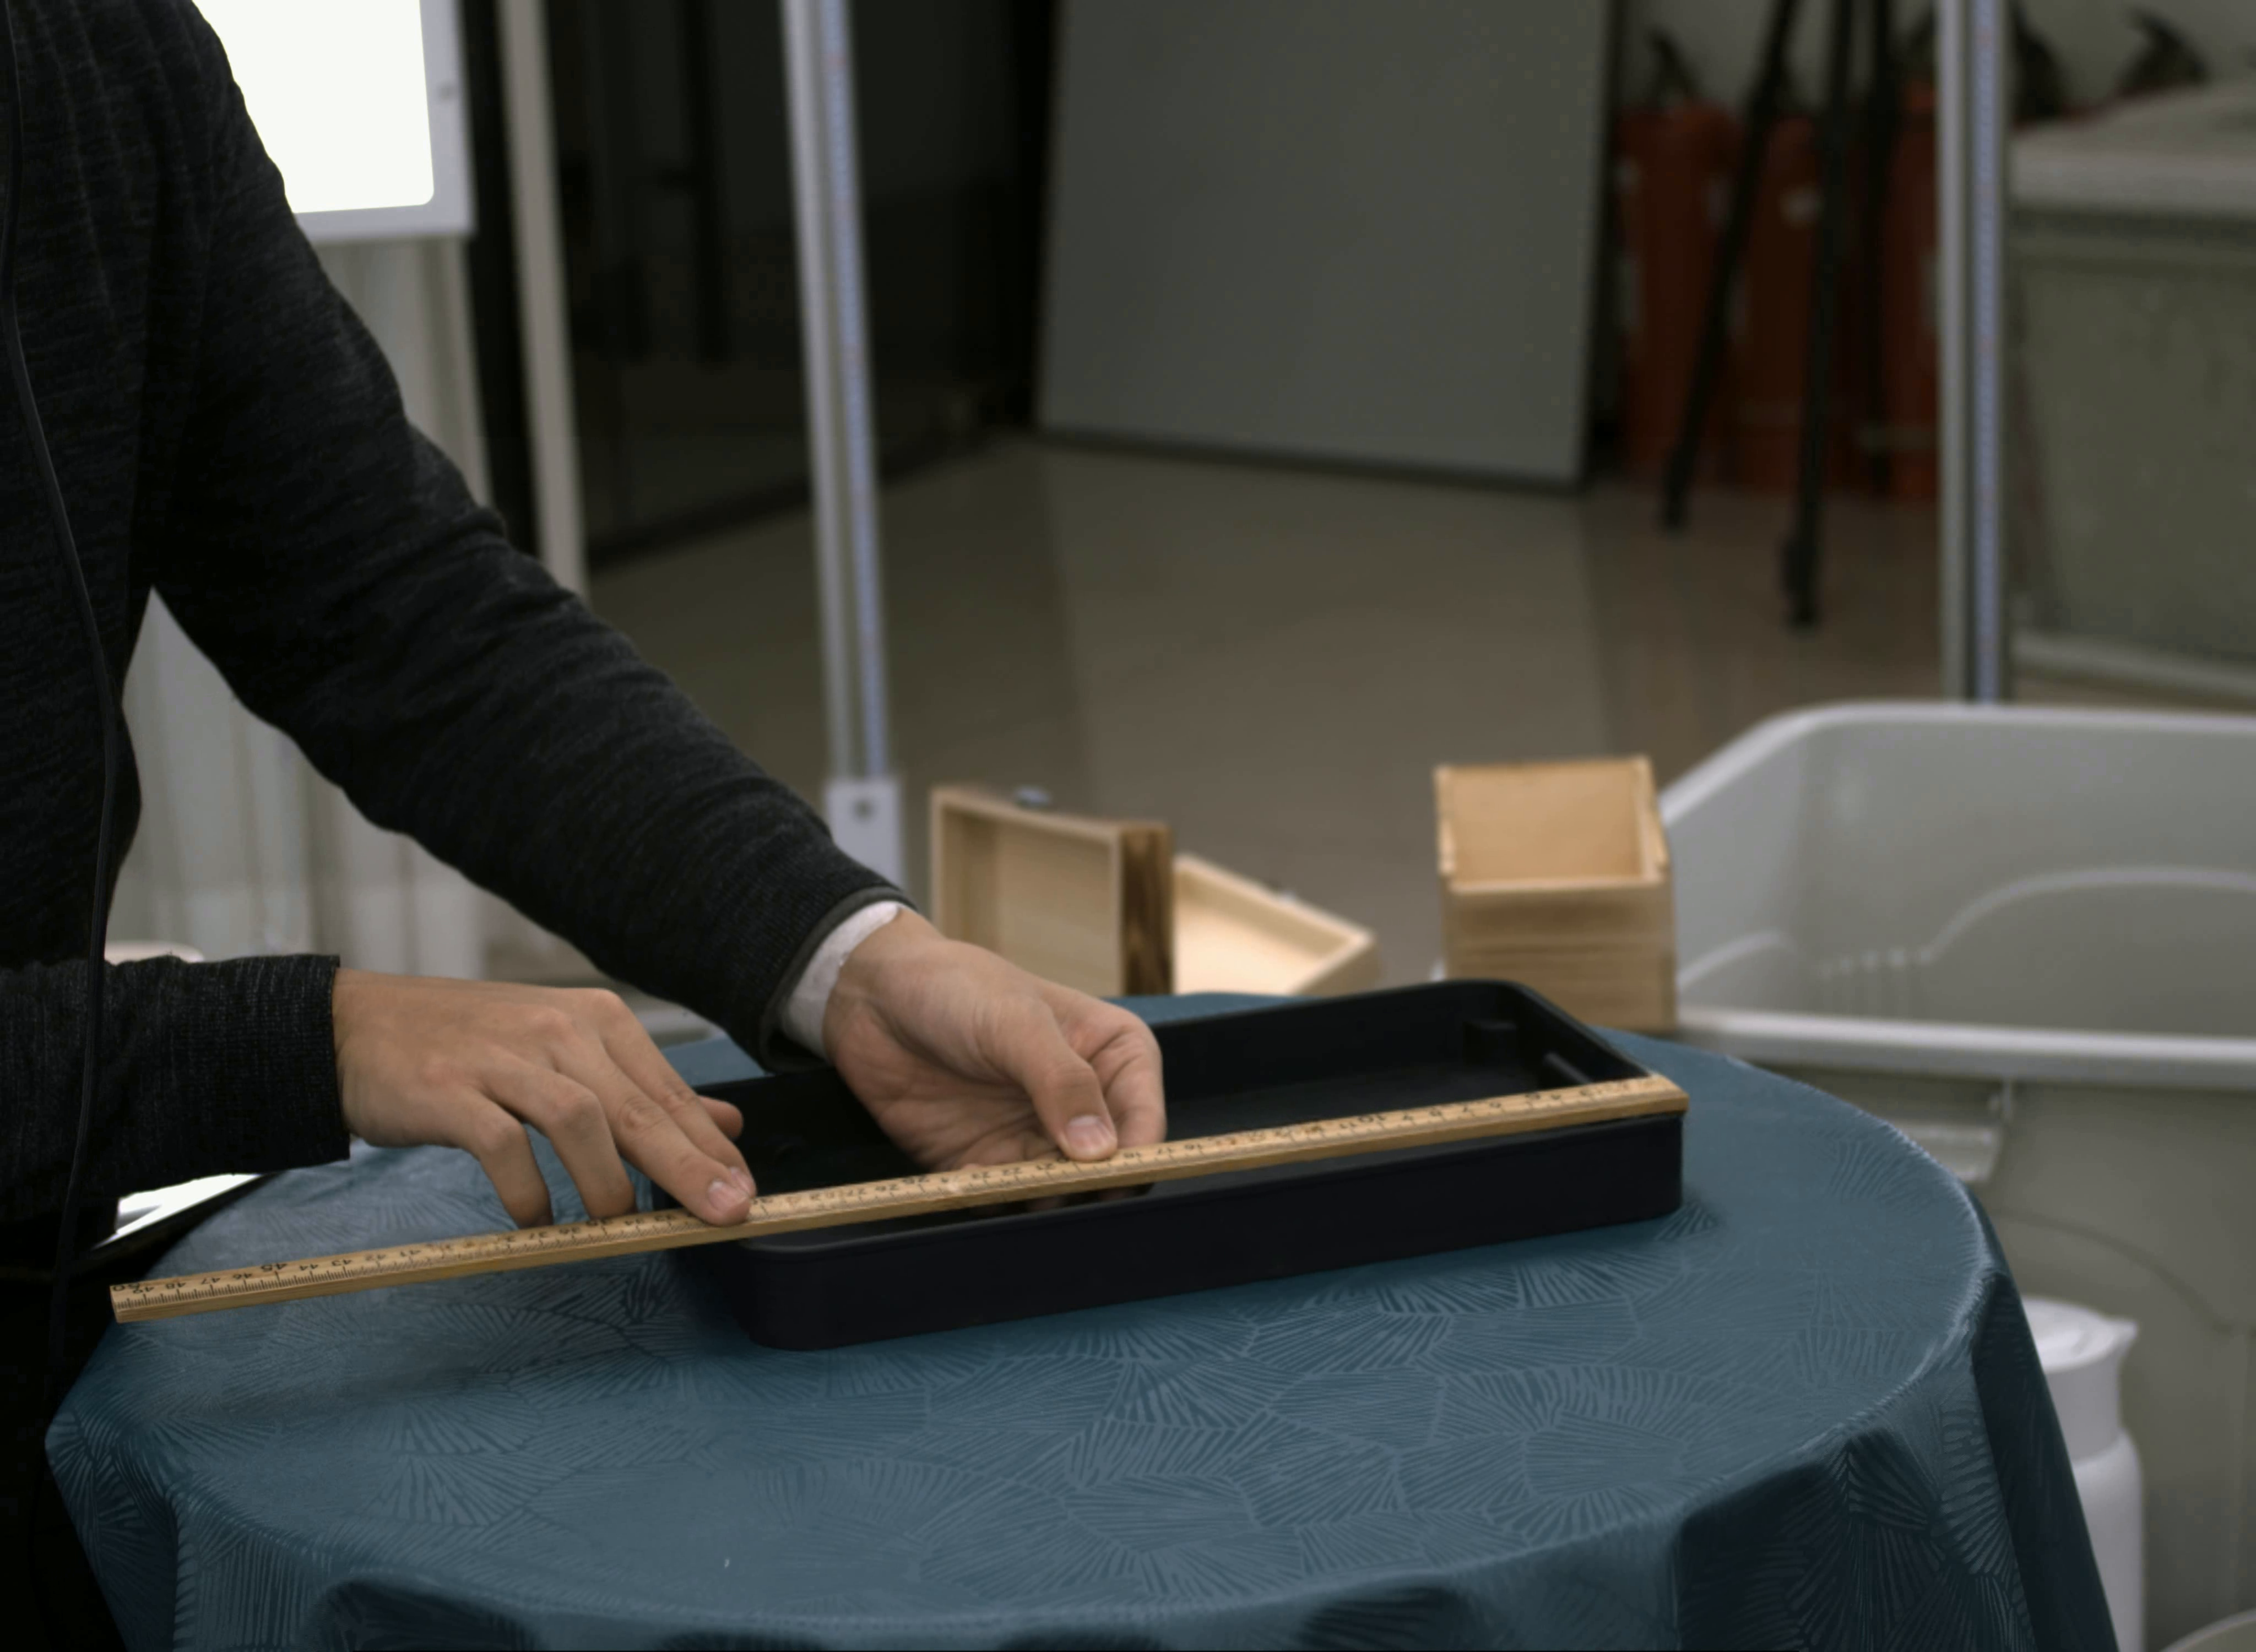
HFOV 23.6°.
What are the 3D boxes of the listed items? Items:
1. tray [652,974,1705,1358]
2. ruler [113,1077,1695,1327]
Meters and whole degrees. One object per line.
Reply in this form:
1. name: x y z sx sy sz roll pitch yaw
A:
1. tray: 0.015 0.106 1.752 0.312 0.037 0.186 -9 14 -16
2. ruler: -0.063 0.114 1.664 0.491 0.006 0.027 -7 12 -11
